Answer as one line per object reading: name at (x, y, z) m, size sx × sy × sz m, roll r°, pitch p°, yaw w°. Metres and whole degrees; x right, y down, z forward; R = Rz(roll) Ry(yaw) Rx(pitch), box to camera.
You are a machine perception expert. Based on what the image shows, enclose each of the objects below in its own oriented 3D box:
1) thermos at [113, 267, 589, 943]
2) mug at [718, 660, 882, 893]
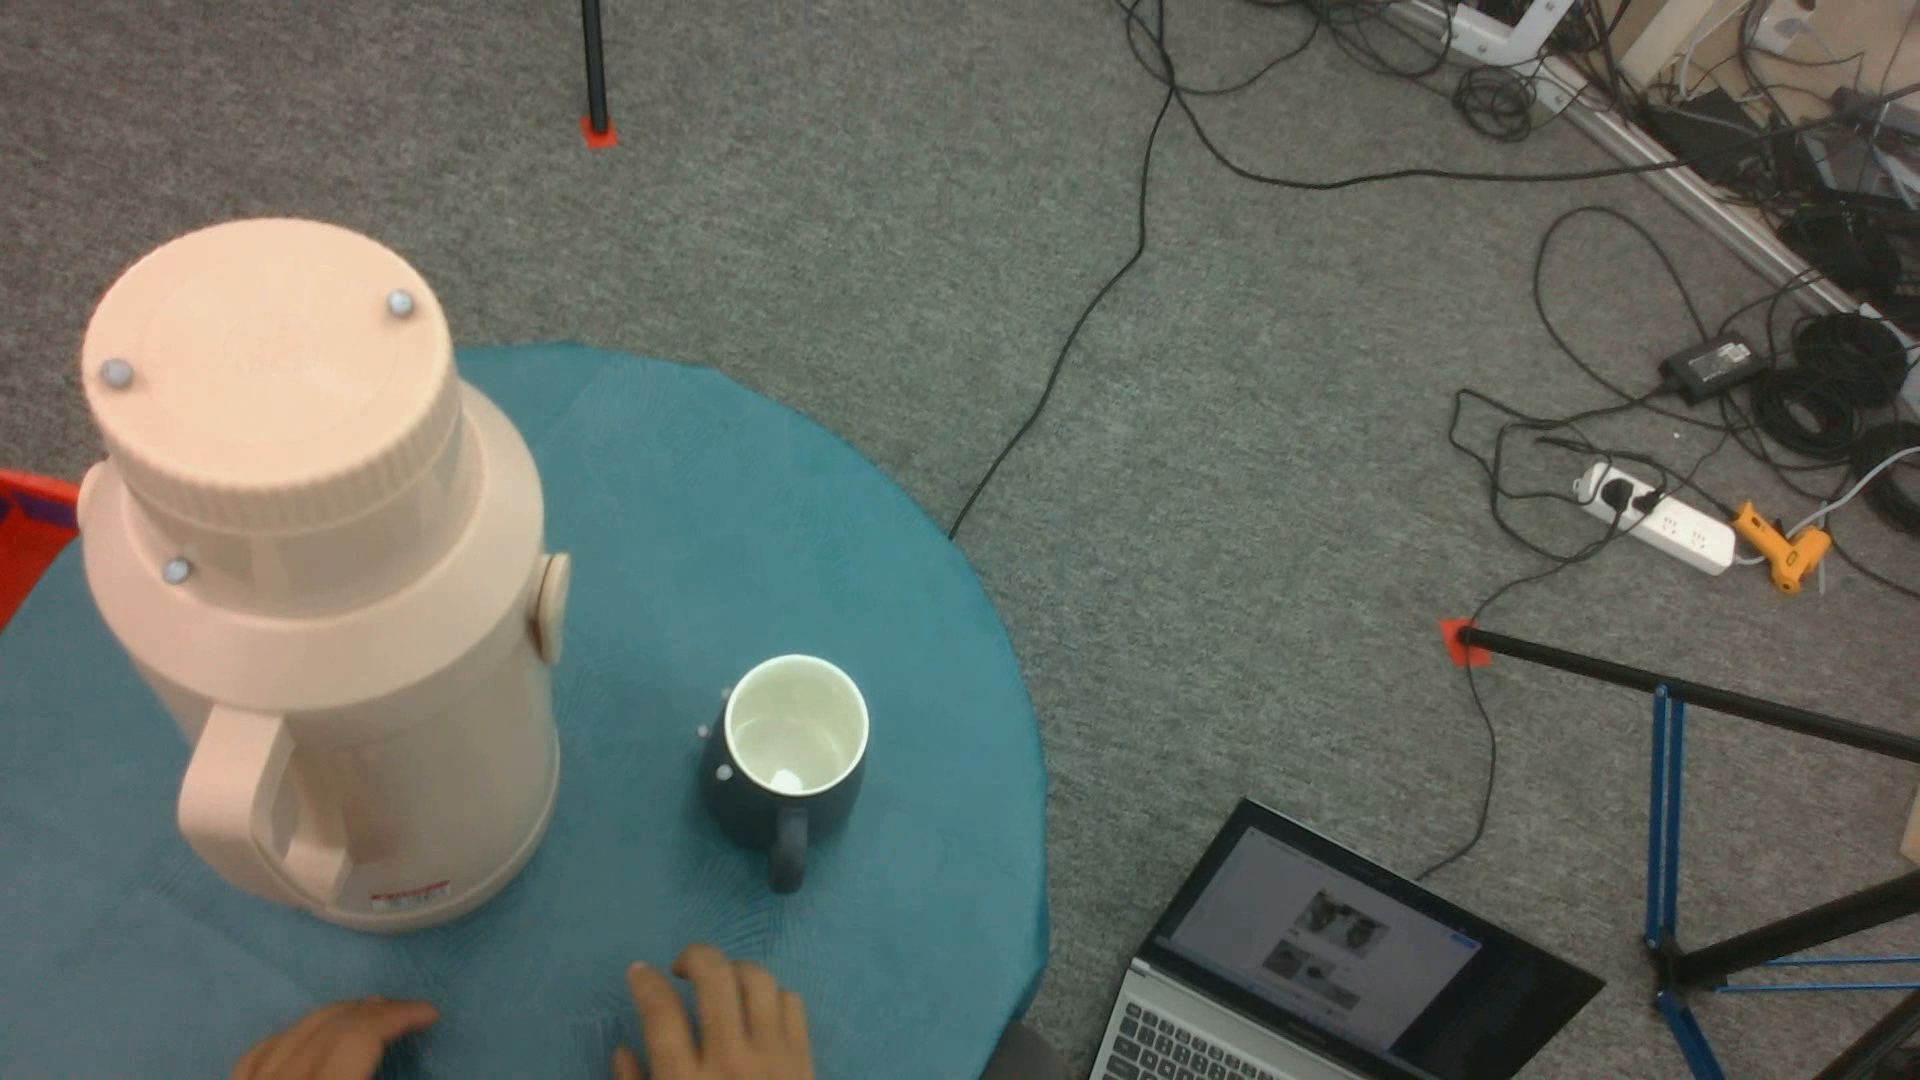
thermos at (-0.257, 0.063, 0.606) m, size 0.175 × 0.404 × 0.208 m, roll 9°, pitch 58°, yaw -9°
mug at (-0.089, 0.137, 0.783) m, size 0.093 × 0.089 × 0.123 m, roll 3°, pitch 59°, yaw -12°
